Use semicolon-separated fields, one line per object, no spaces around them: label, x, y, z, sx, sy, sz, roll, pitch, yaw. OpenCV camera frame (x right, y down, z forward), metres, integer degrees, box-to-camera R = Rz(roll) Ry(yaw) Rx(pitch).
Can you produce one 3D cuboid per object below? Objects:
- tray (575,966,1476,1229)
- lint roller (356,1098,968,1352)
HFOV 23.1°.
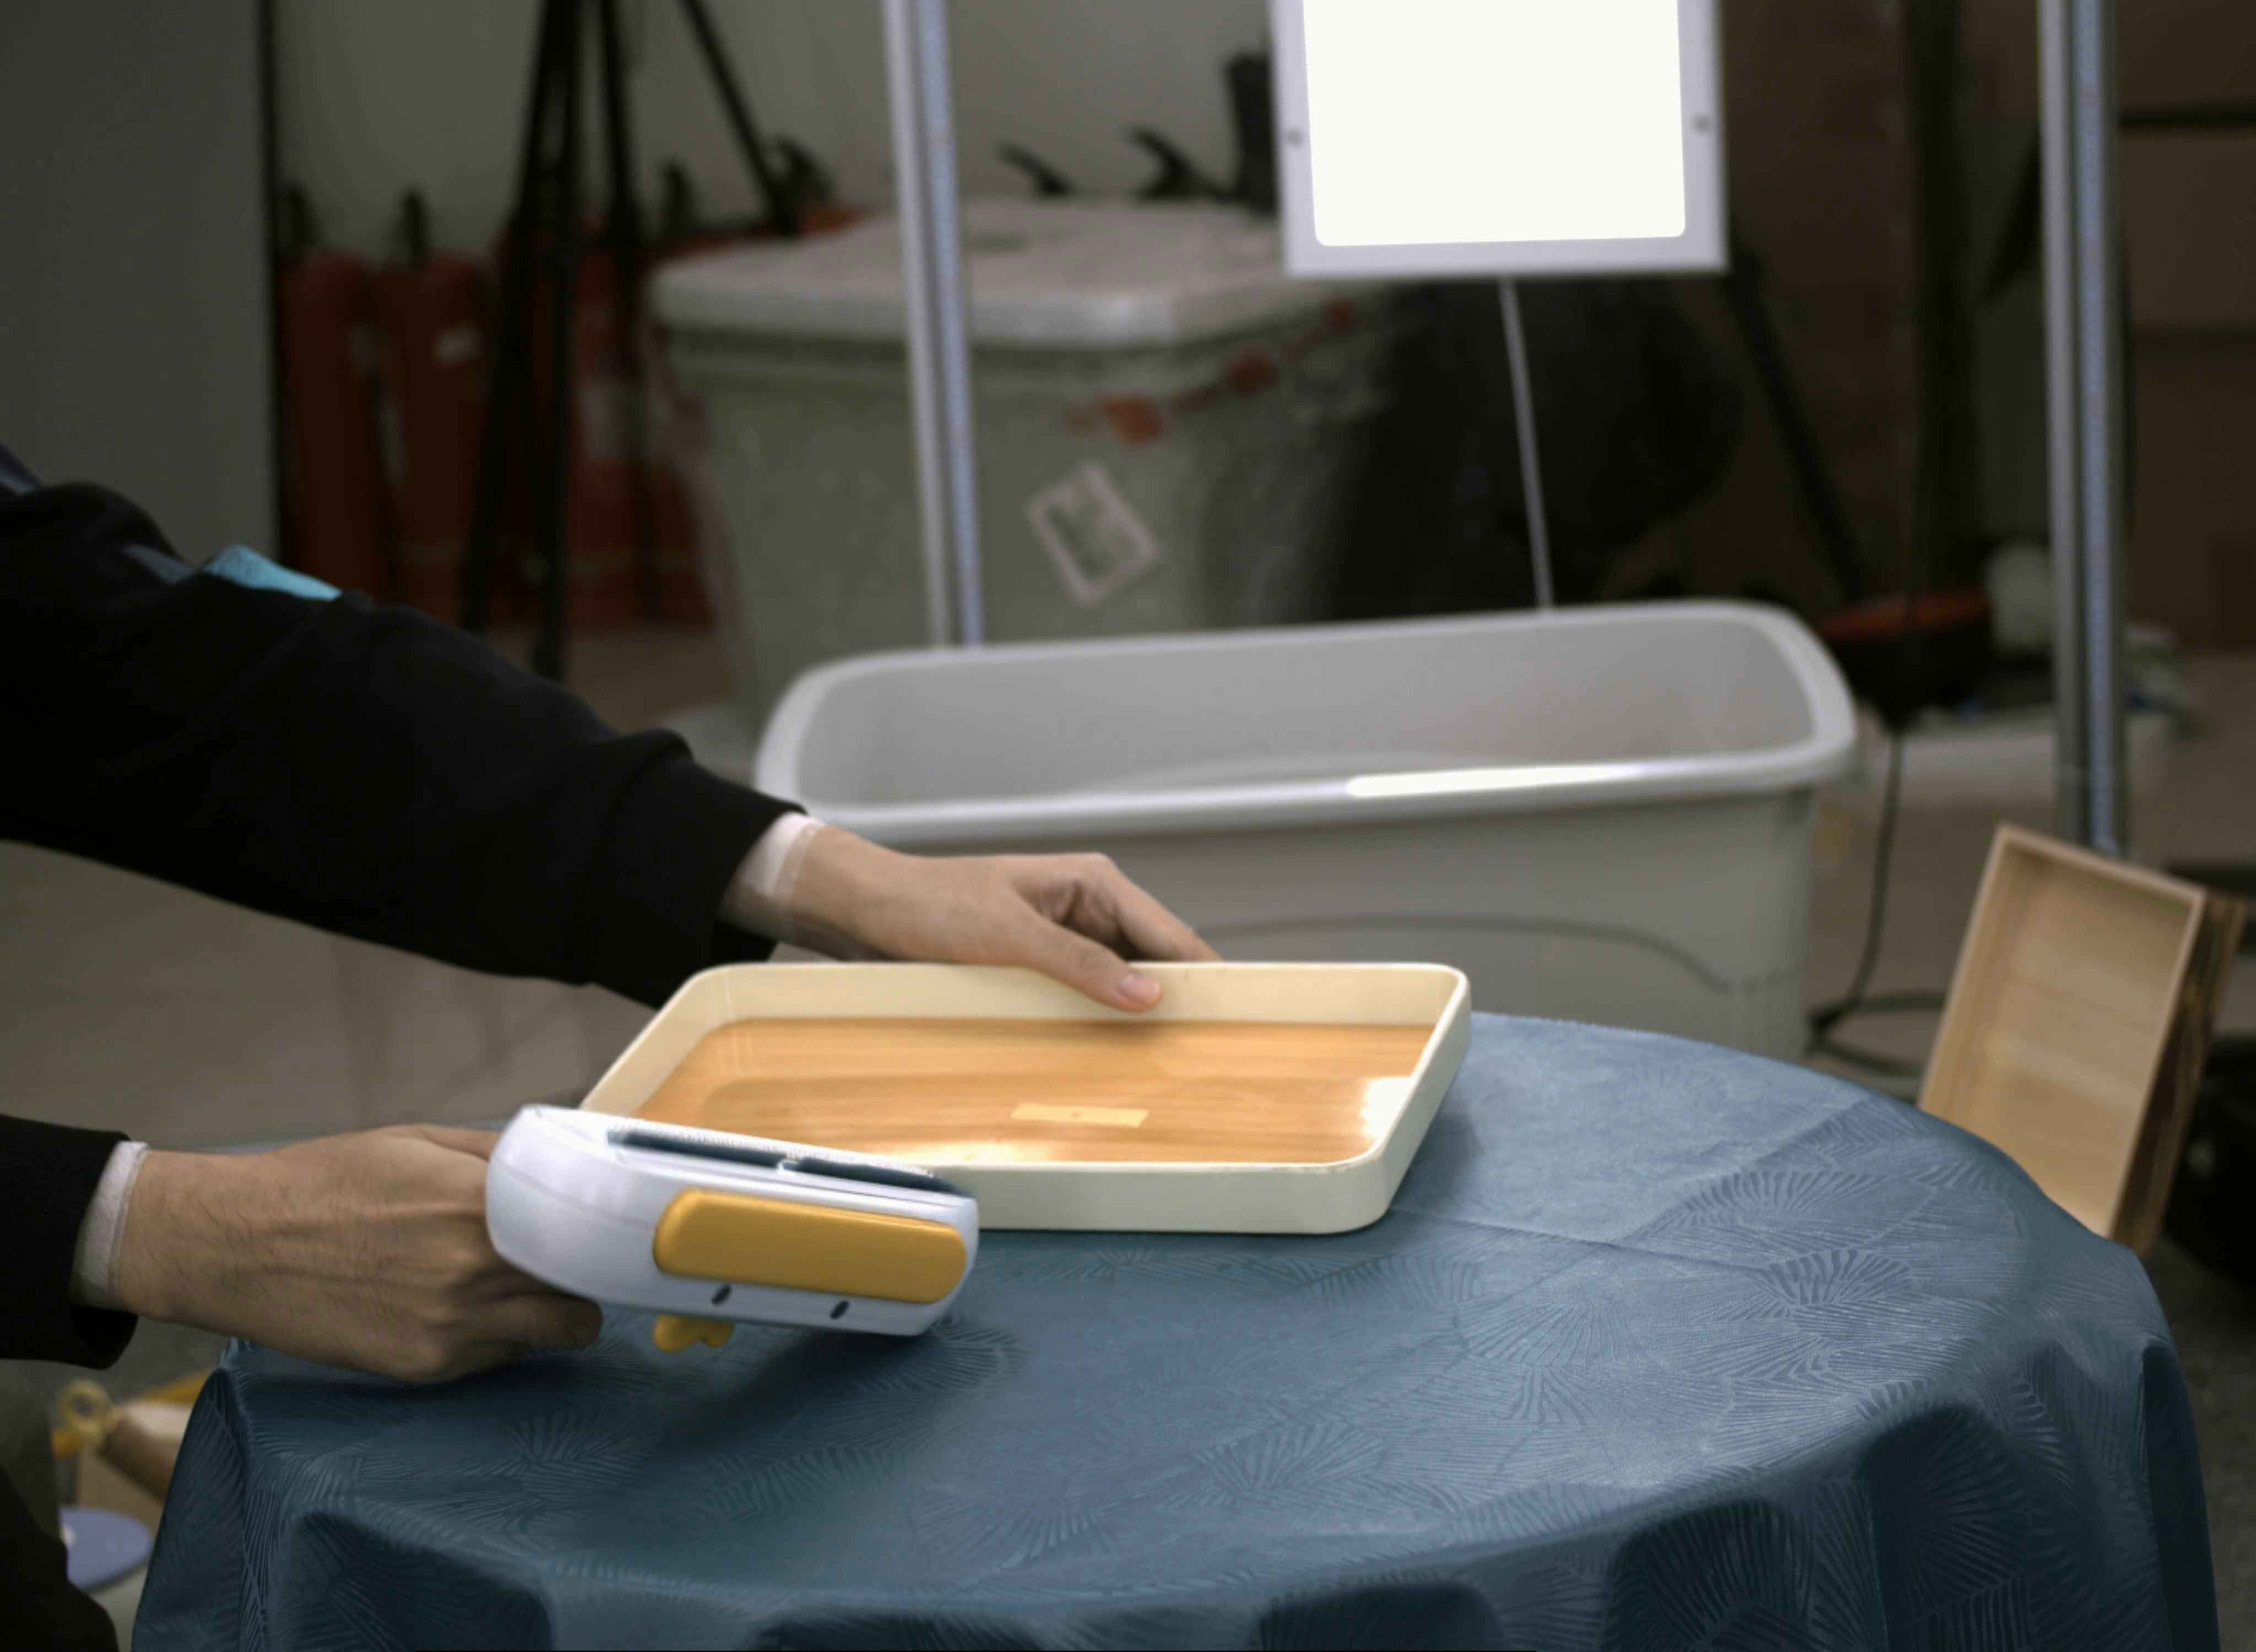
tray;-0.038;0.095;1.949;0.304;0.027;0.188;-1;19;18
lint roller;-0.171;0.120;1.753;0.196;0.074;0.188;12;3;43
